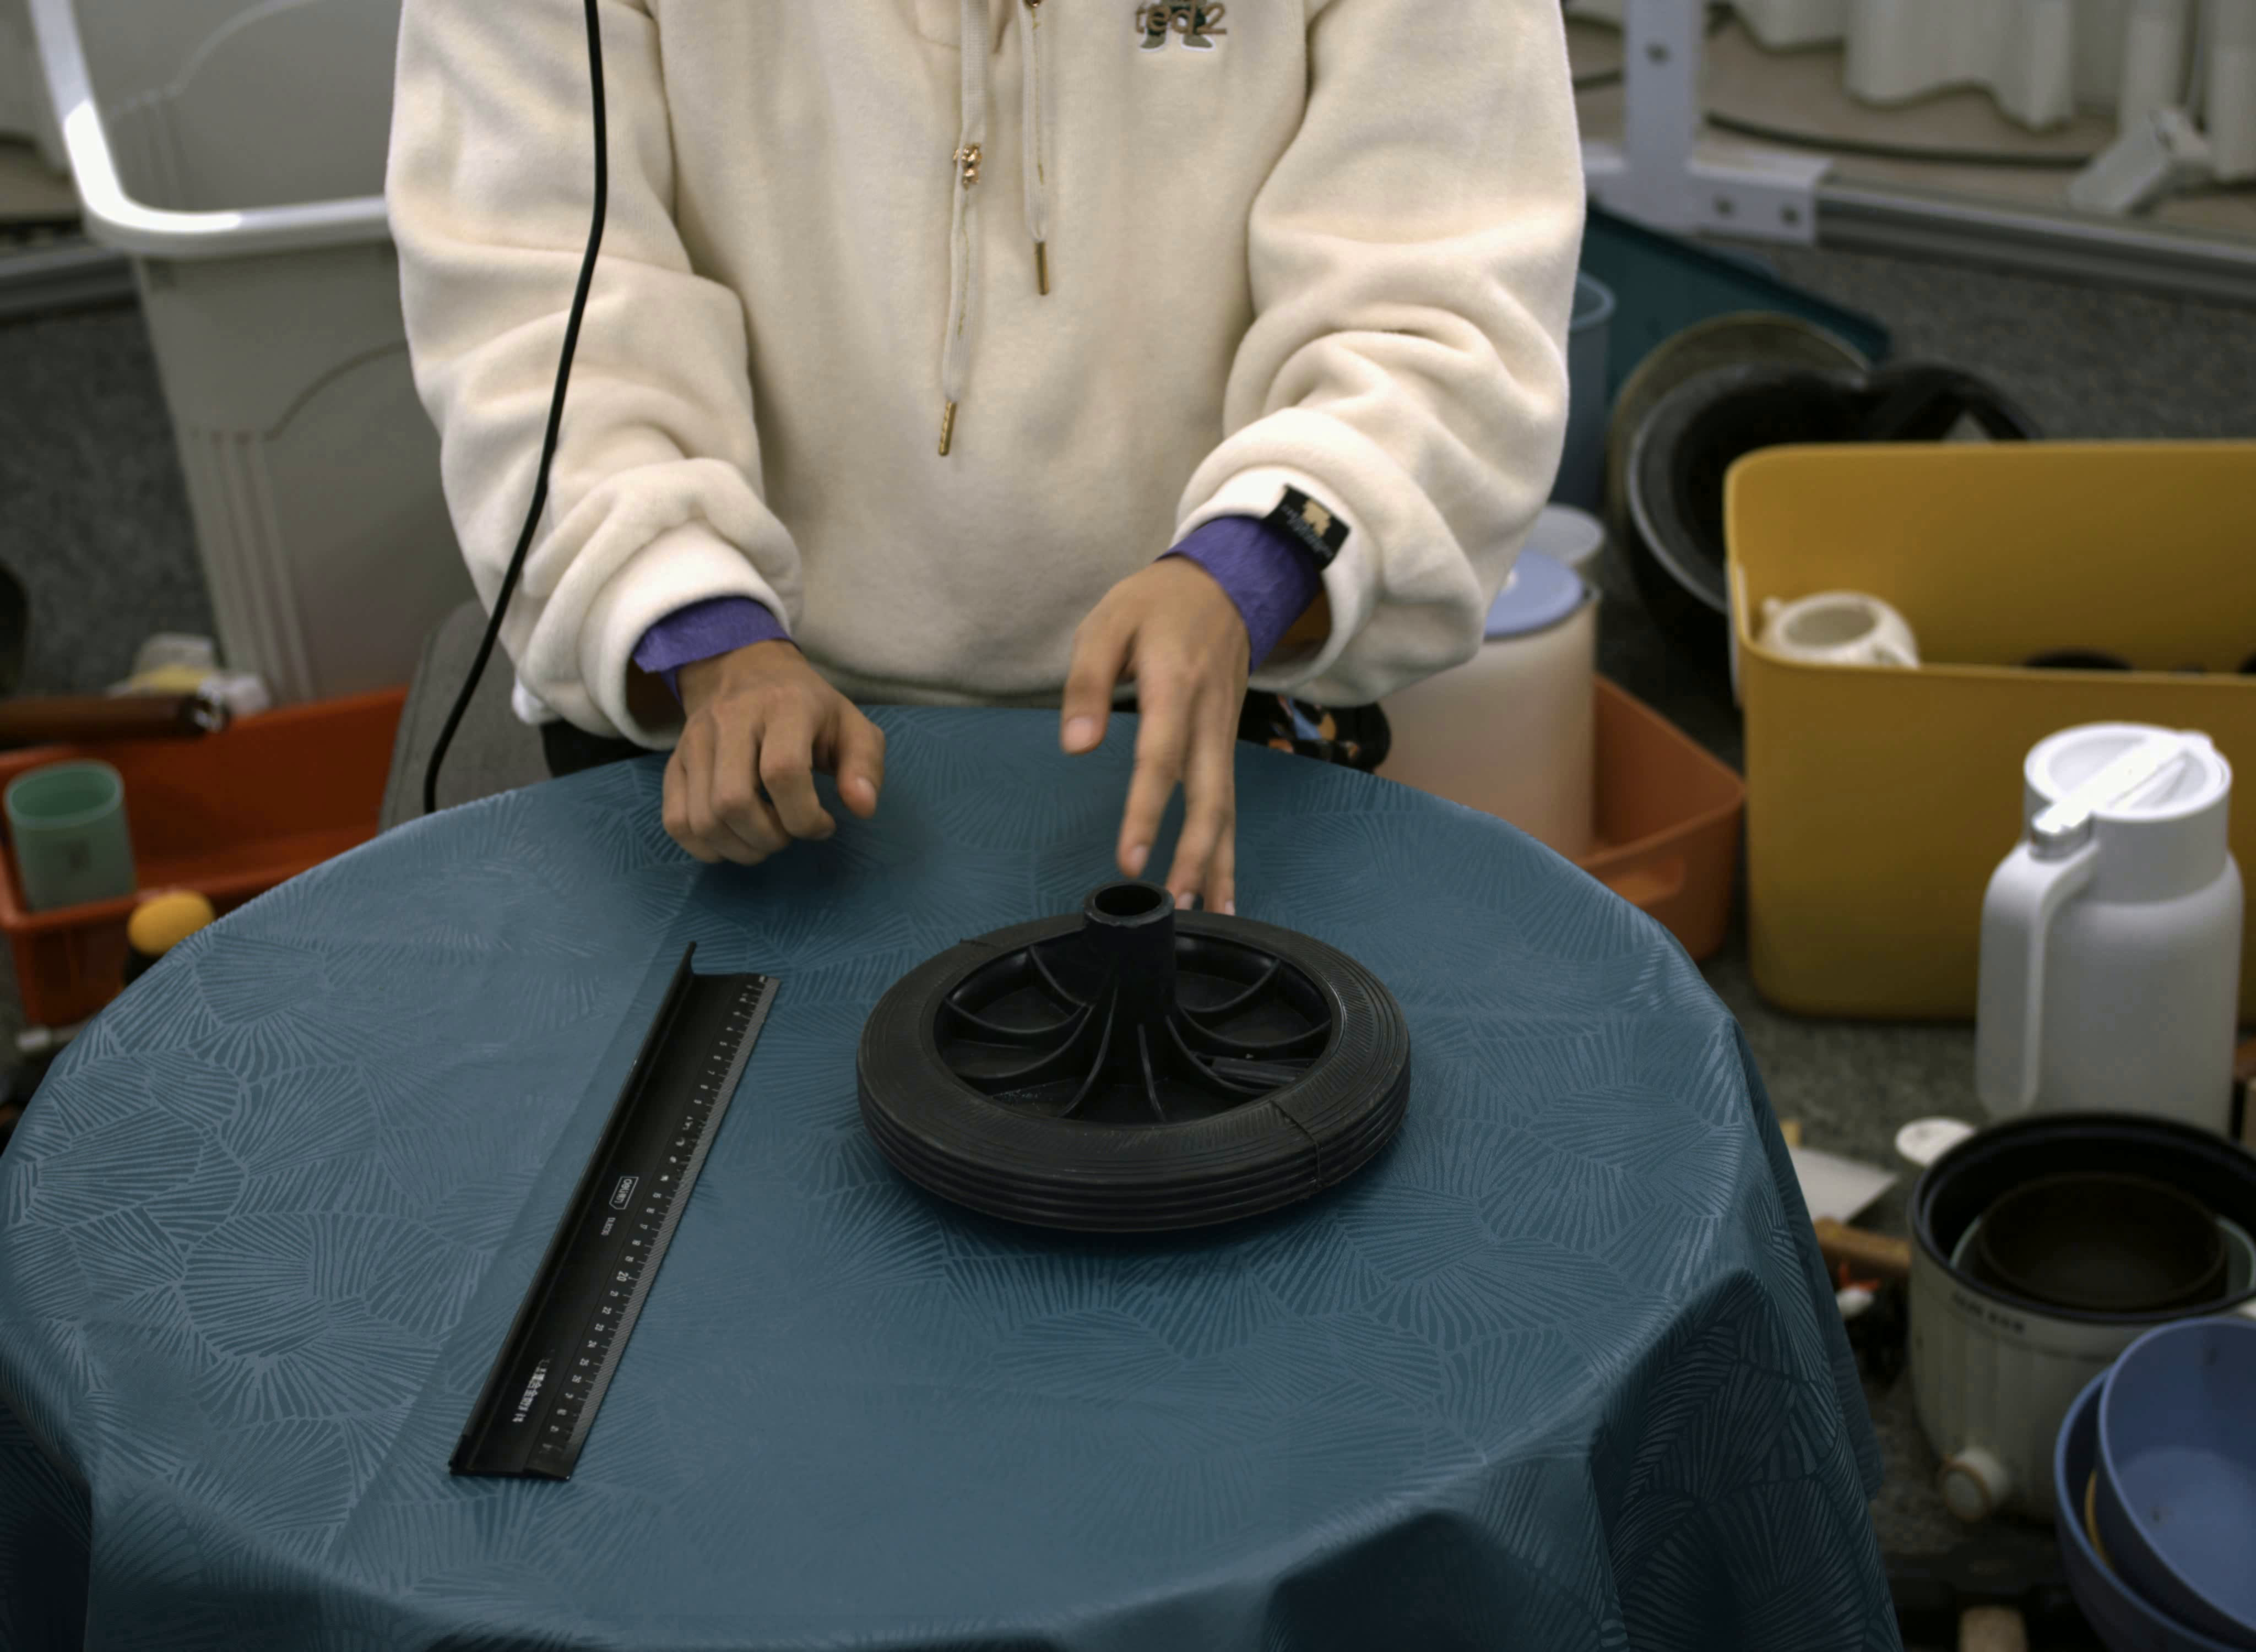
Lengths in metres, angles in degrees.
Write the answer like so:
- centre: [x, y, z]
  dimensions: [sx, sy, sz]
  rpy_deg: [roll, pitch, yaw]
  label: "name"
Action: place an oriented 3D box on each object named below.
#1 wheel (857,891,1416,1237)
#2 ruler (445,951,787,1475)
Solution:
- centre: [0.002, 0.064, 1.890]
  dimensions: [0.189, 0.078, 0.190]
  rpy_deg: [-2, 27, -3]
  label: "wheel"
- centre: [-0.166, 0.122, 1.860]
  dimensions: [0.039, 0.017, 0.318]
  rpy_deg: [6, 28, 8]
  label: "ruler"
